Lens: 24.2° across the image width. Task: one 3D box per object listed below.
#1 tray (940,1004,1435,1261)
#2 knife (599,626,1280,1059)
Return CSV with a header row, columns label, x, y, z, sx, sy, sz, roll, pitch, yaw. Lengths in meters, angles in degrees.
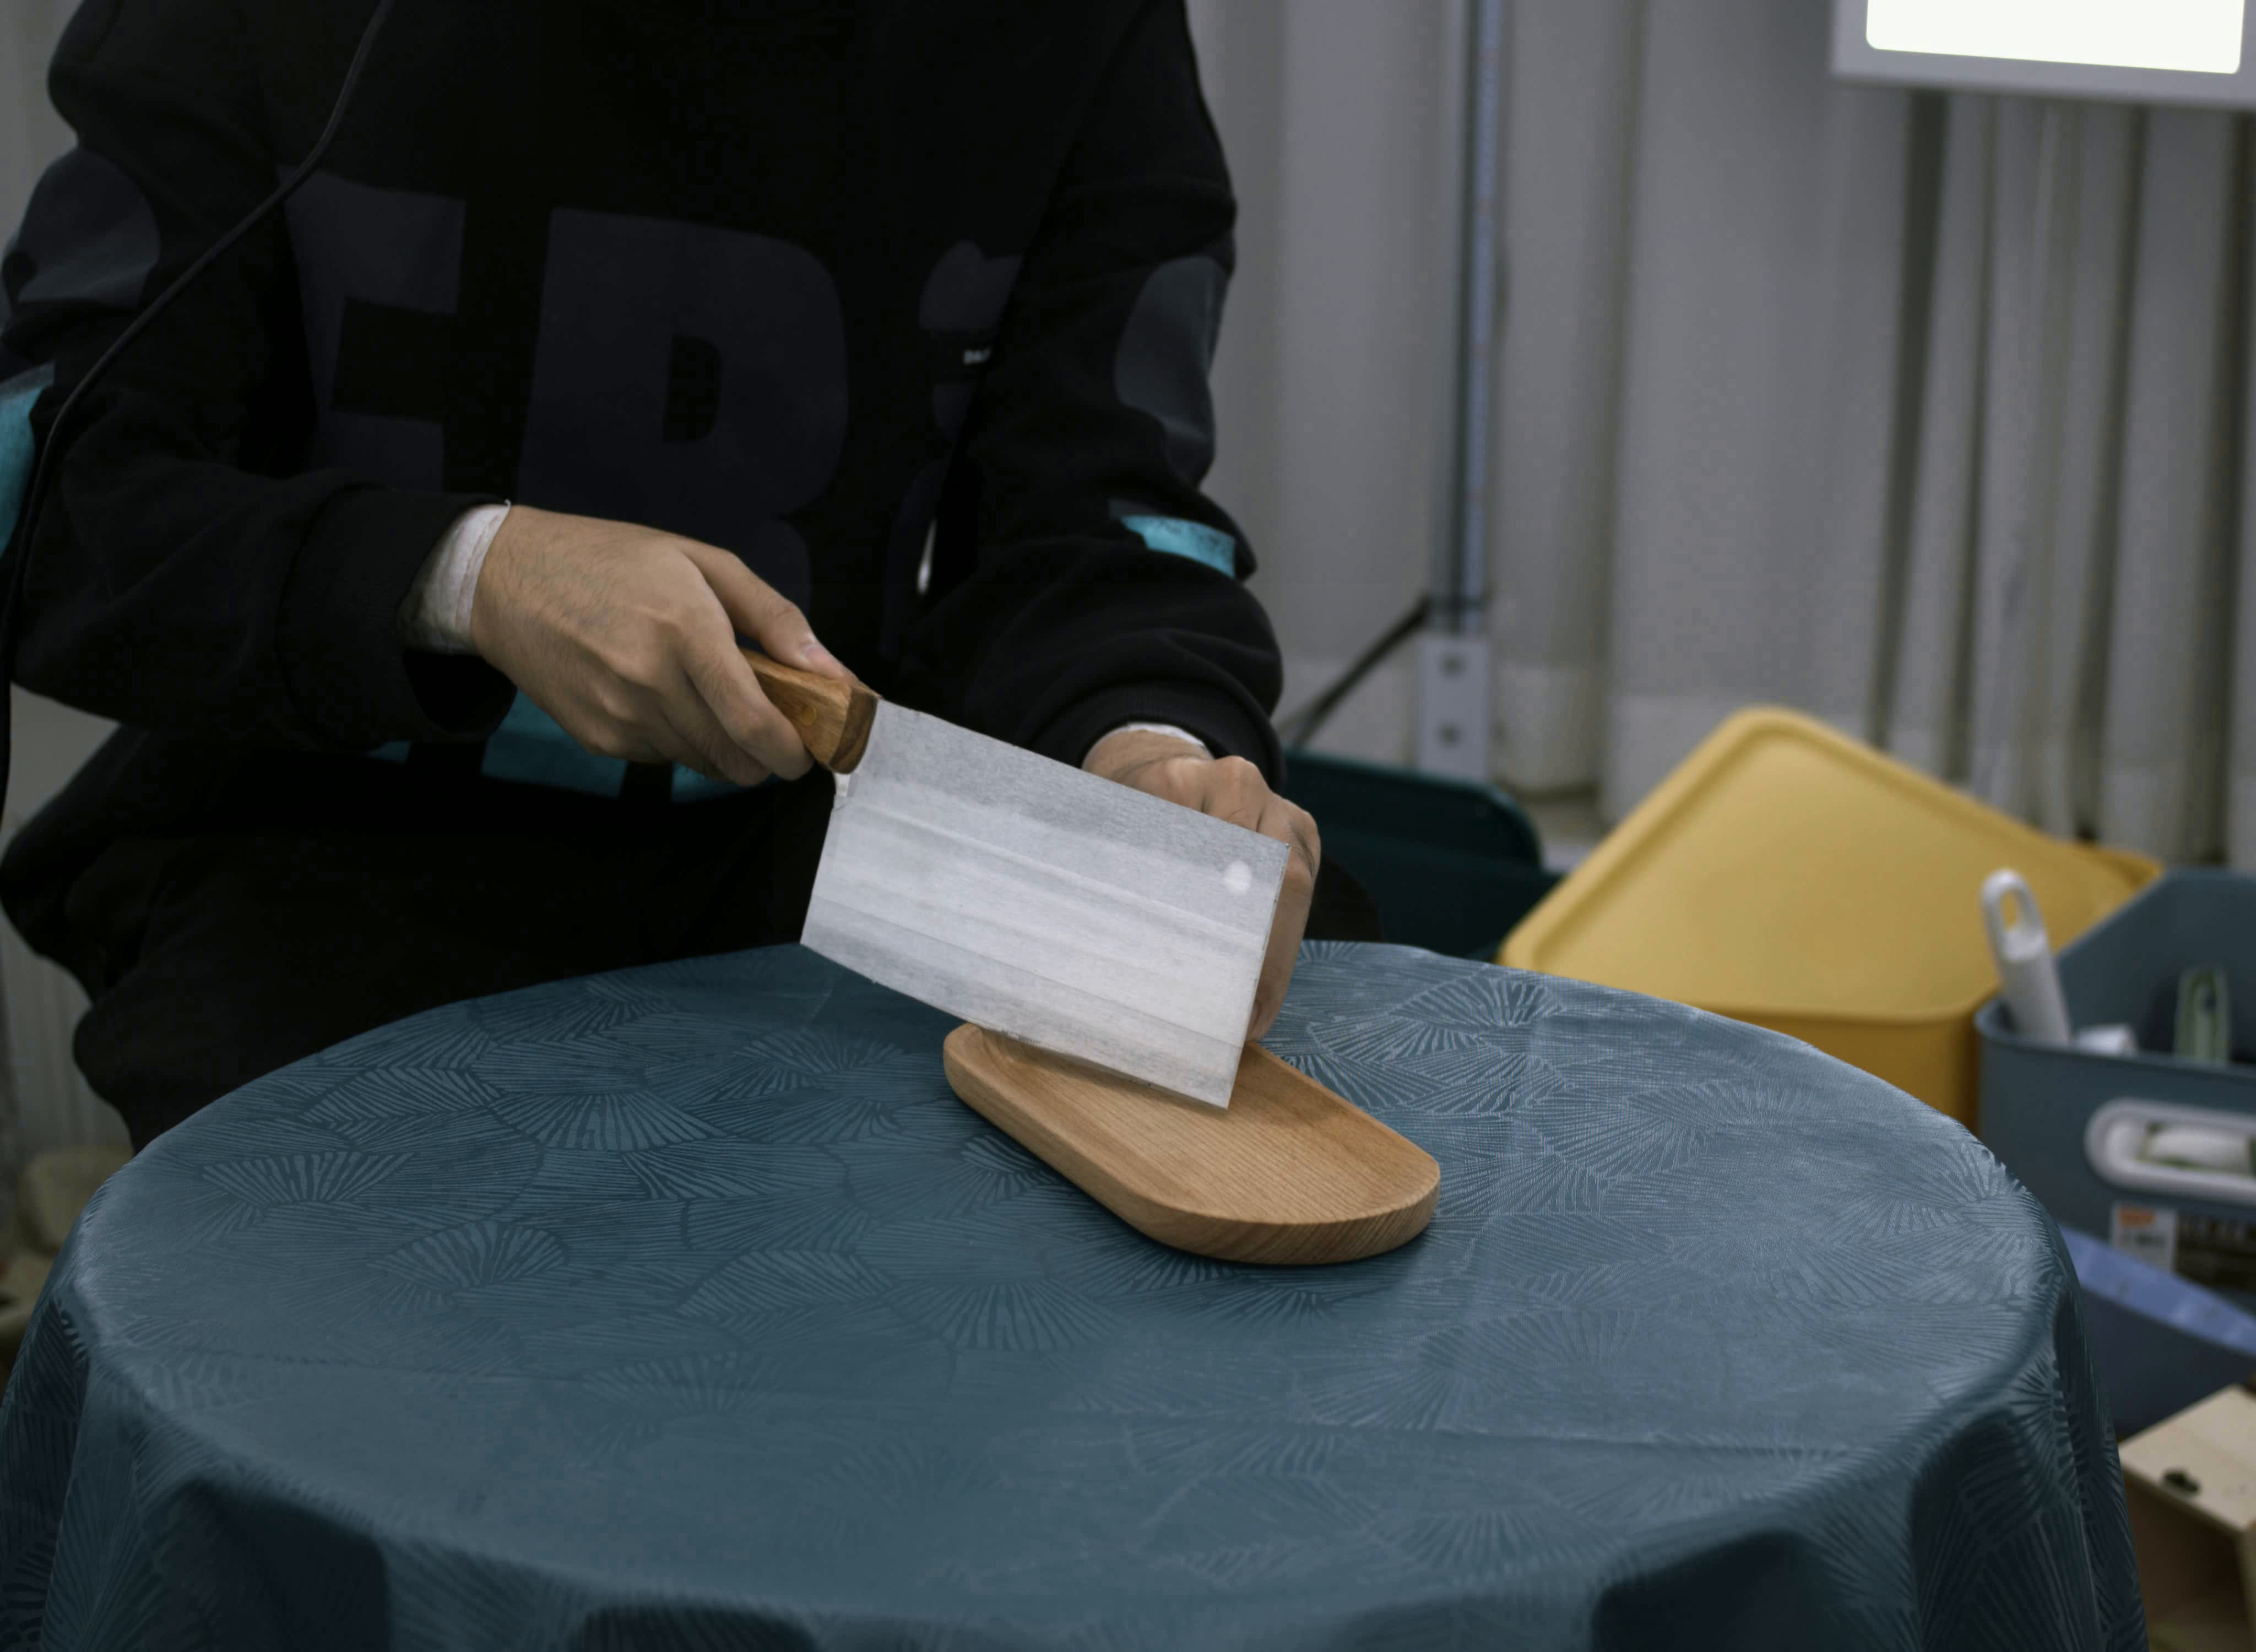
label,x,y,z,sx,sy,sz,roll,pitch,yaw
tray,0.016,0.093,1.658,0.102,0.020,0.228,-5,15,-24
knife,-0.072,0.006,1.748,0.301,0.093,0.021,20,12,37
